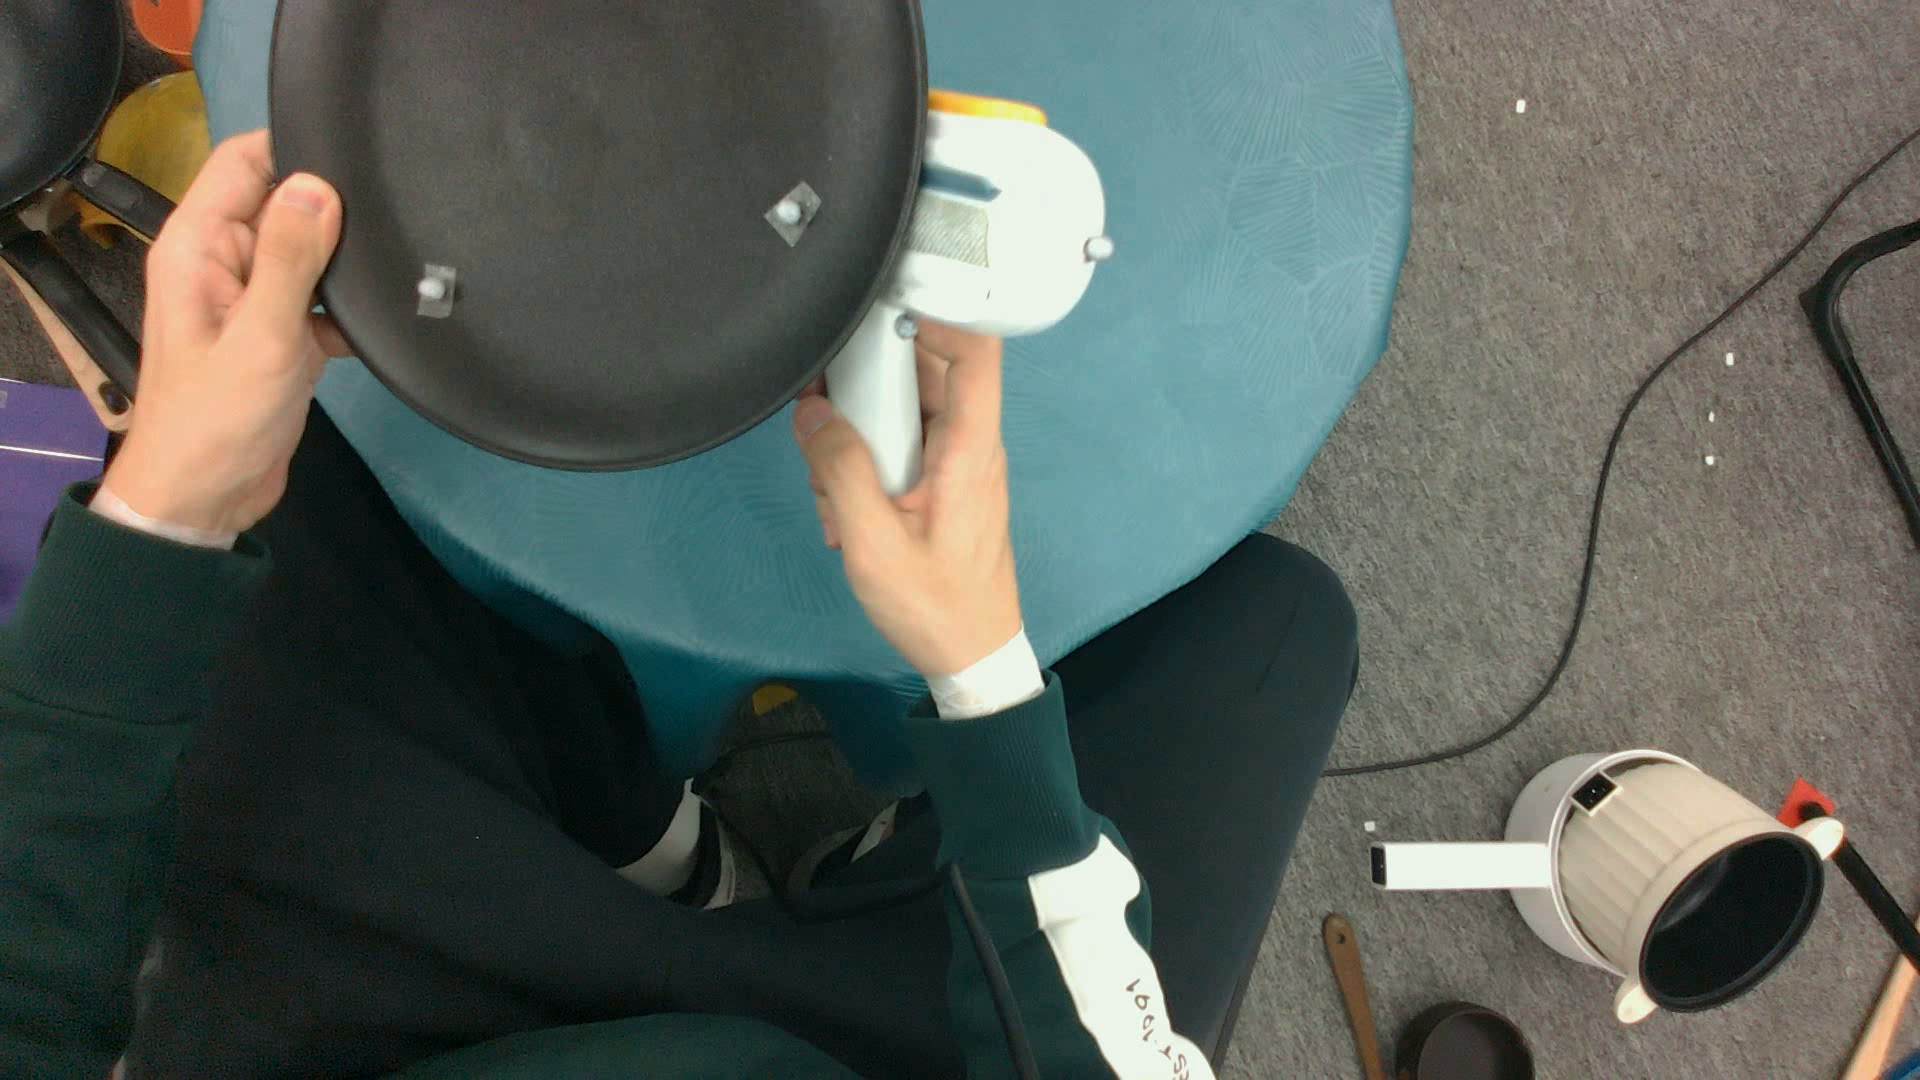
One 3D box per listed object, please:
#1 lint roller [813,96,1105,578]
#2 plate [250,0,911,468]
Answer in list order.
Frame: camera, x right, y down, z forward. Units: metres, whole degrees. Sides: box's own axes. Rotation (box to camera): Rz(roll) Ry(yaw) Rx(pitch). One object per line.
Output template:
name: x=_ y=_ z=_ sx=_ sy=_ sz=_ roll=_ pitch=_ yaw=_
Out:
lint roller: x=-0.037 y=-0.069 z=0.510 sx=0.074 sy=0.193 sz=0.191 roll=-21 pitch=127 yaw=-48
plate: x=-0.130 y=-0.146 z=0.462 sx=0.244 sy=0.023 sz=0.244 roll=2 pitch=98 yaw=15
